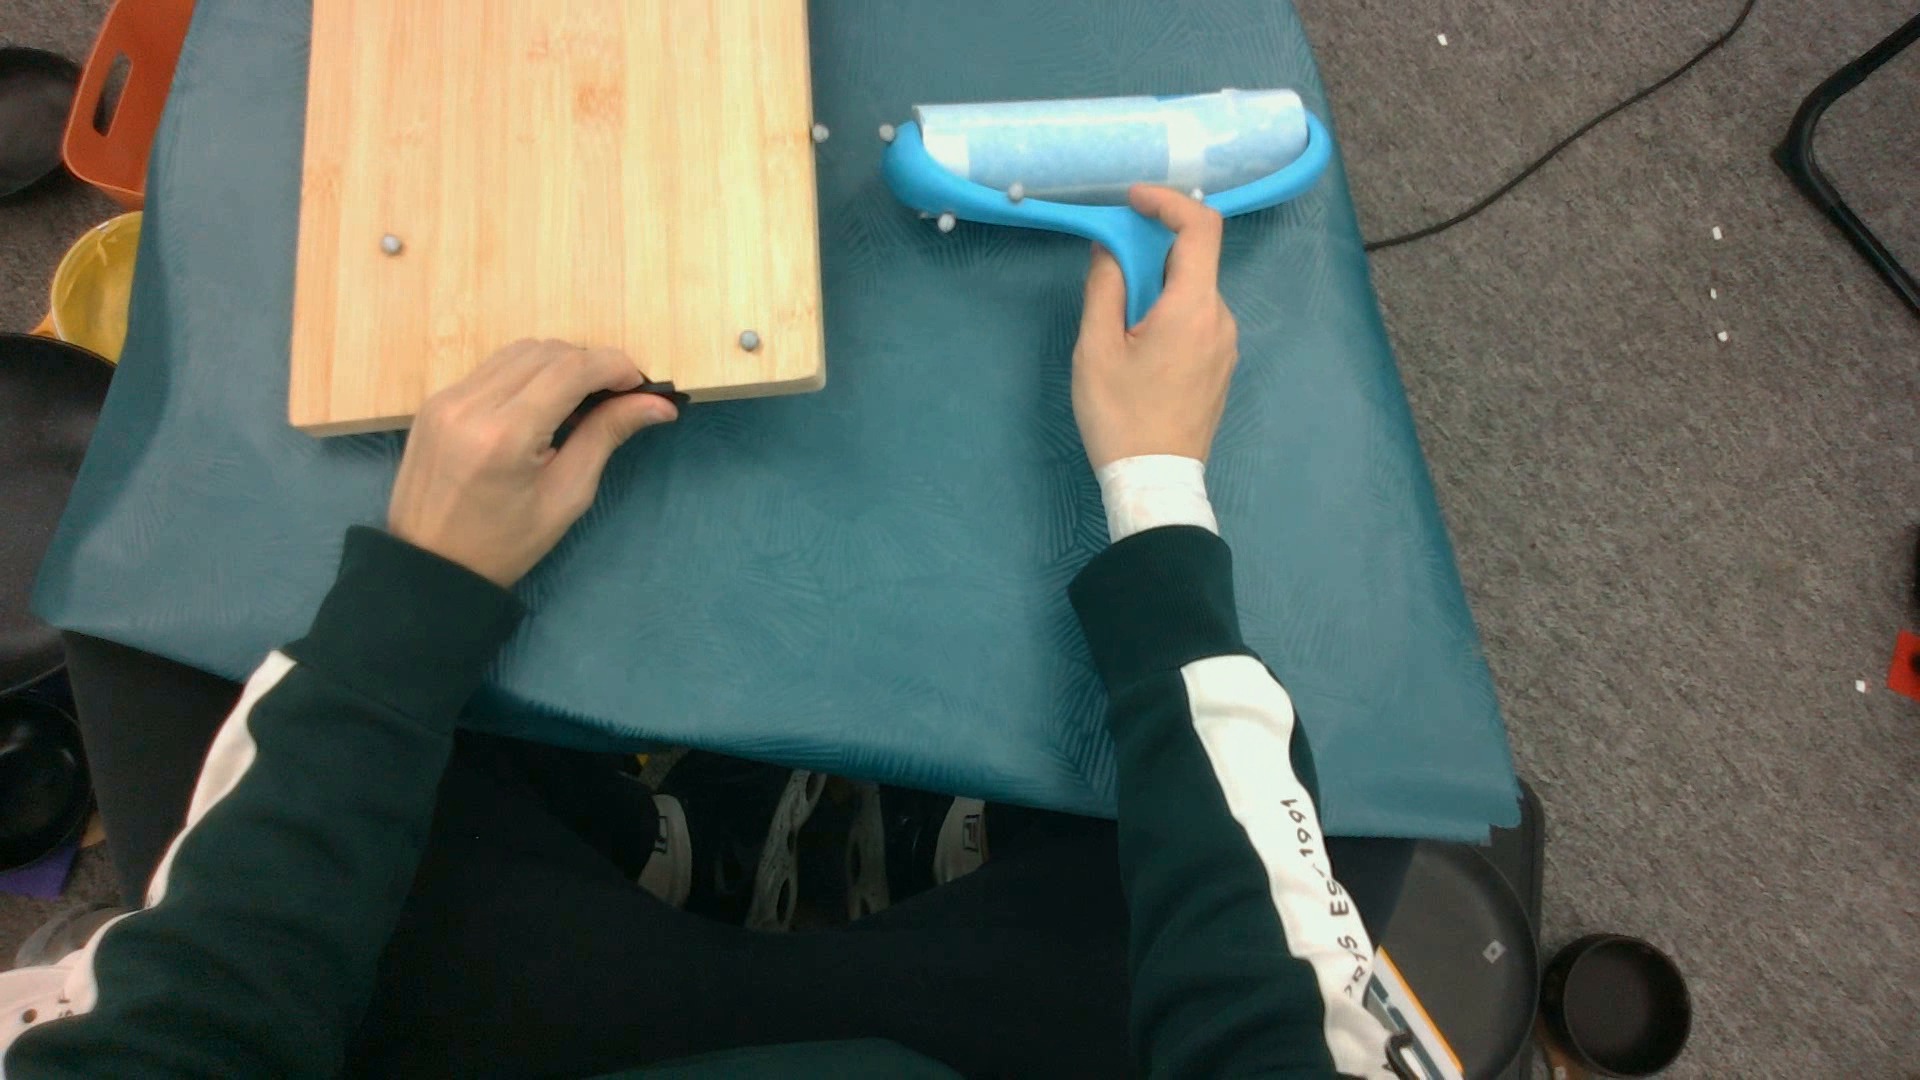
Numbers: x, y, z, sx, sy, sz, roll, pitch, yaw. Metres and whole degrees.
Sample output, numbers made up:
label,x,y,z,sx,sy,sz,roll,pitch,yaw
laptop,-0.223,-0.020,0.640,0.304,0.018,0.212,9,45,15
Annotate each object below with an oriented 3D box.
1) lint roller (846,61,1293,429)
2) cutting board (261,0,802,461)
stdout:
label,x,y,z,sx,sy,sz,roll,pitch,yaw
lint roller,0.070,-0.149,0.681,0.229,0.067,0.180,-10,76,-12
cutting board,-0.208,-0.217,0.660,0.250,0.023,0.349,-8,75,2
